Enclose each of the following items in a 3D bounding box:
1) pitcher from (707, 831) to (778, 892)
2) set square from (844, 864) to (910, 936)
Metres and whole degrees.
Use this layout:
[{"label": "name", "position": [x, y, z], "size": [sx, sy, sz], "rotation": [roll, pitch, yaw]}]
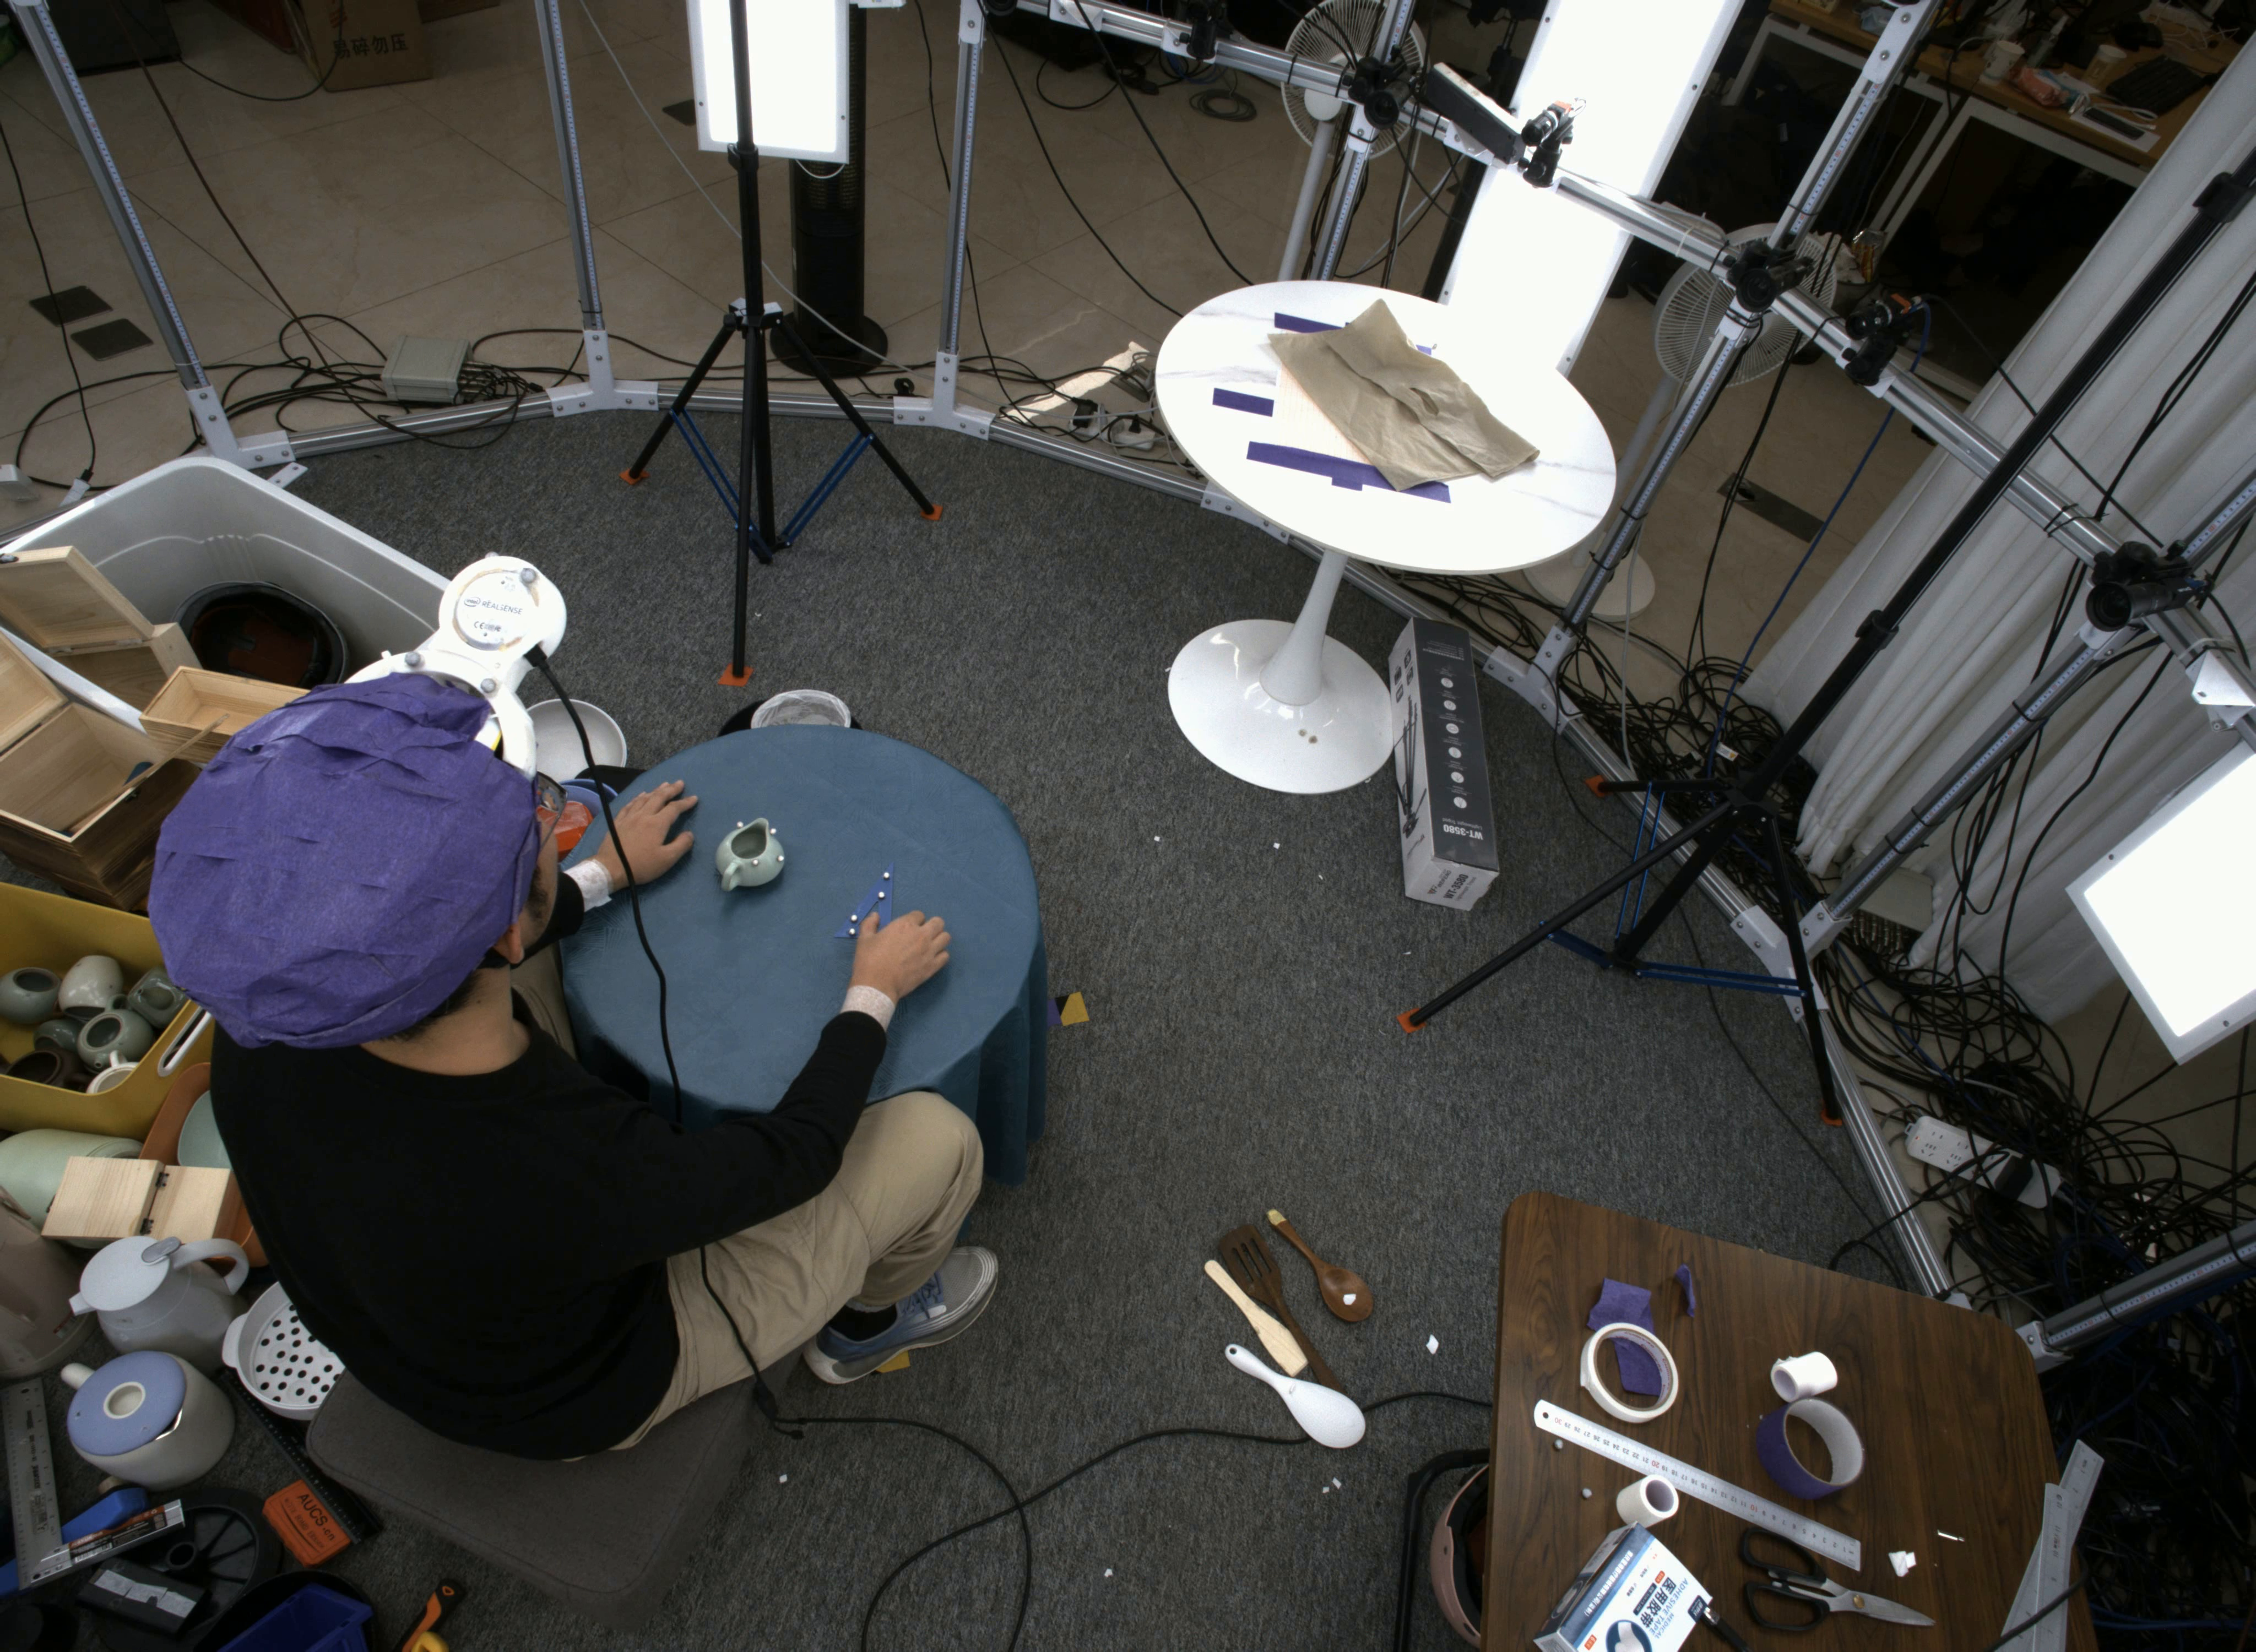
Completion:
[{"label": "pitcher", "position": [-0.488, 0.046, 1.623], "size": [0.085, 0.061, 0.108], "rotation": [39, 36, 5]}, {"label": "set square", "position": [-0.304, 0.100, 1.673], "size": [0.060, 0.007, 0.131], "rotation": [29, 52, 9]}]
